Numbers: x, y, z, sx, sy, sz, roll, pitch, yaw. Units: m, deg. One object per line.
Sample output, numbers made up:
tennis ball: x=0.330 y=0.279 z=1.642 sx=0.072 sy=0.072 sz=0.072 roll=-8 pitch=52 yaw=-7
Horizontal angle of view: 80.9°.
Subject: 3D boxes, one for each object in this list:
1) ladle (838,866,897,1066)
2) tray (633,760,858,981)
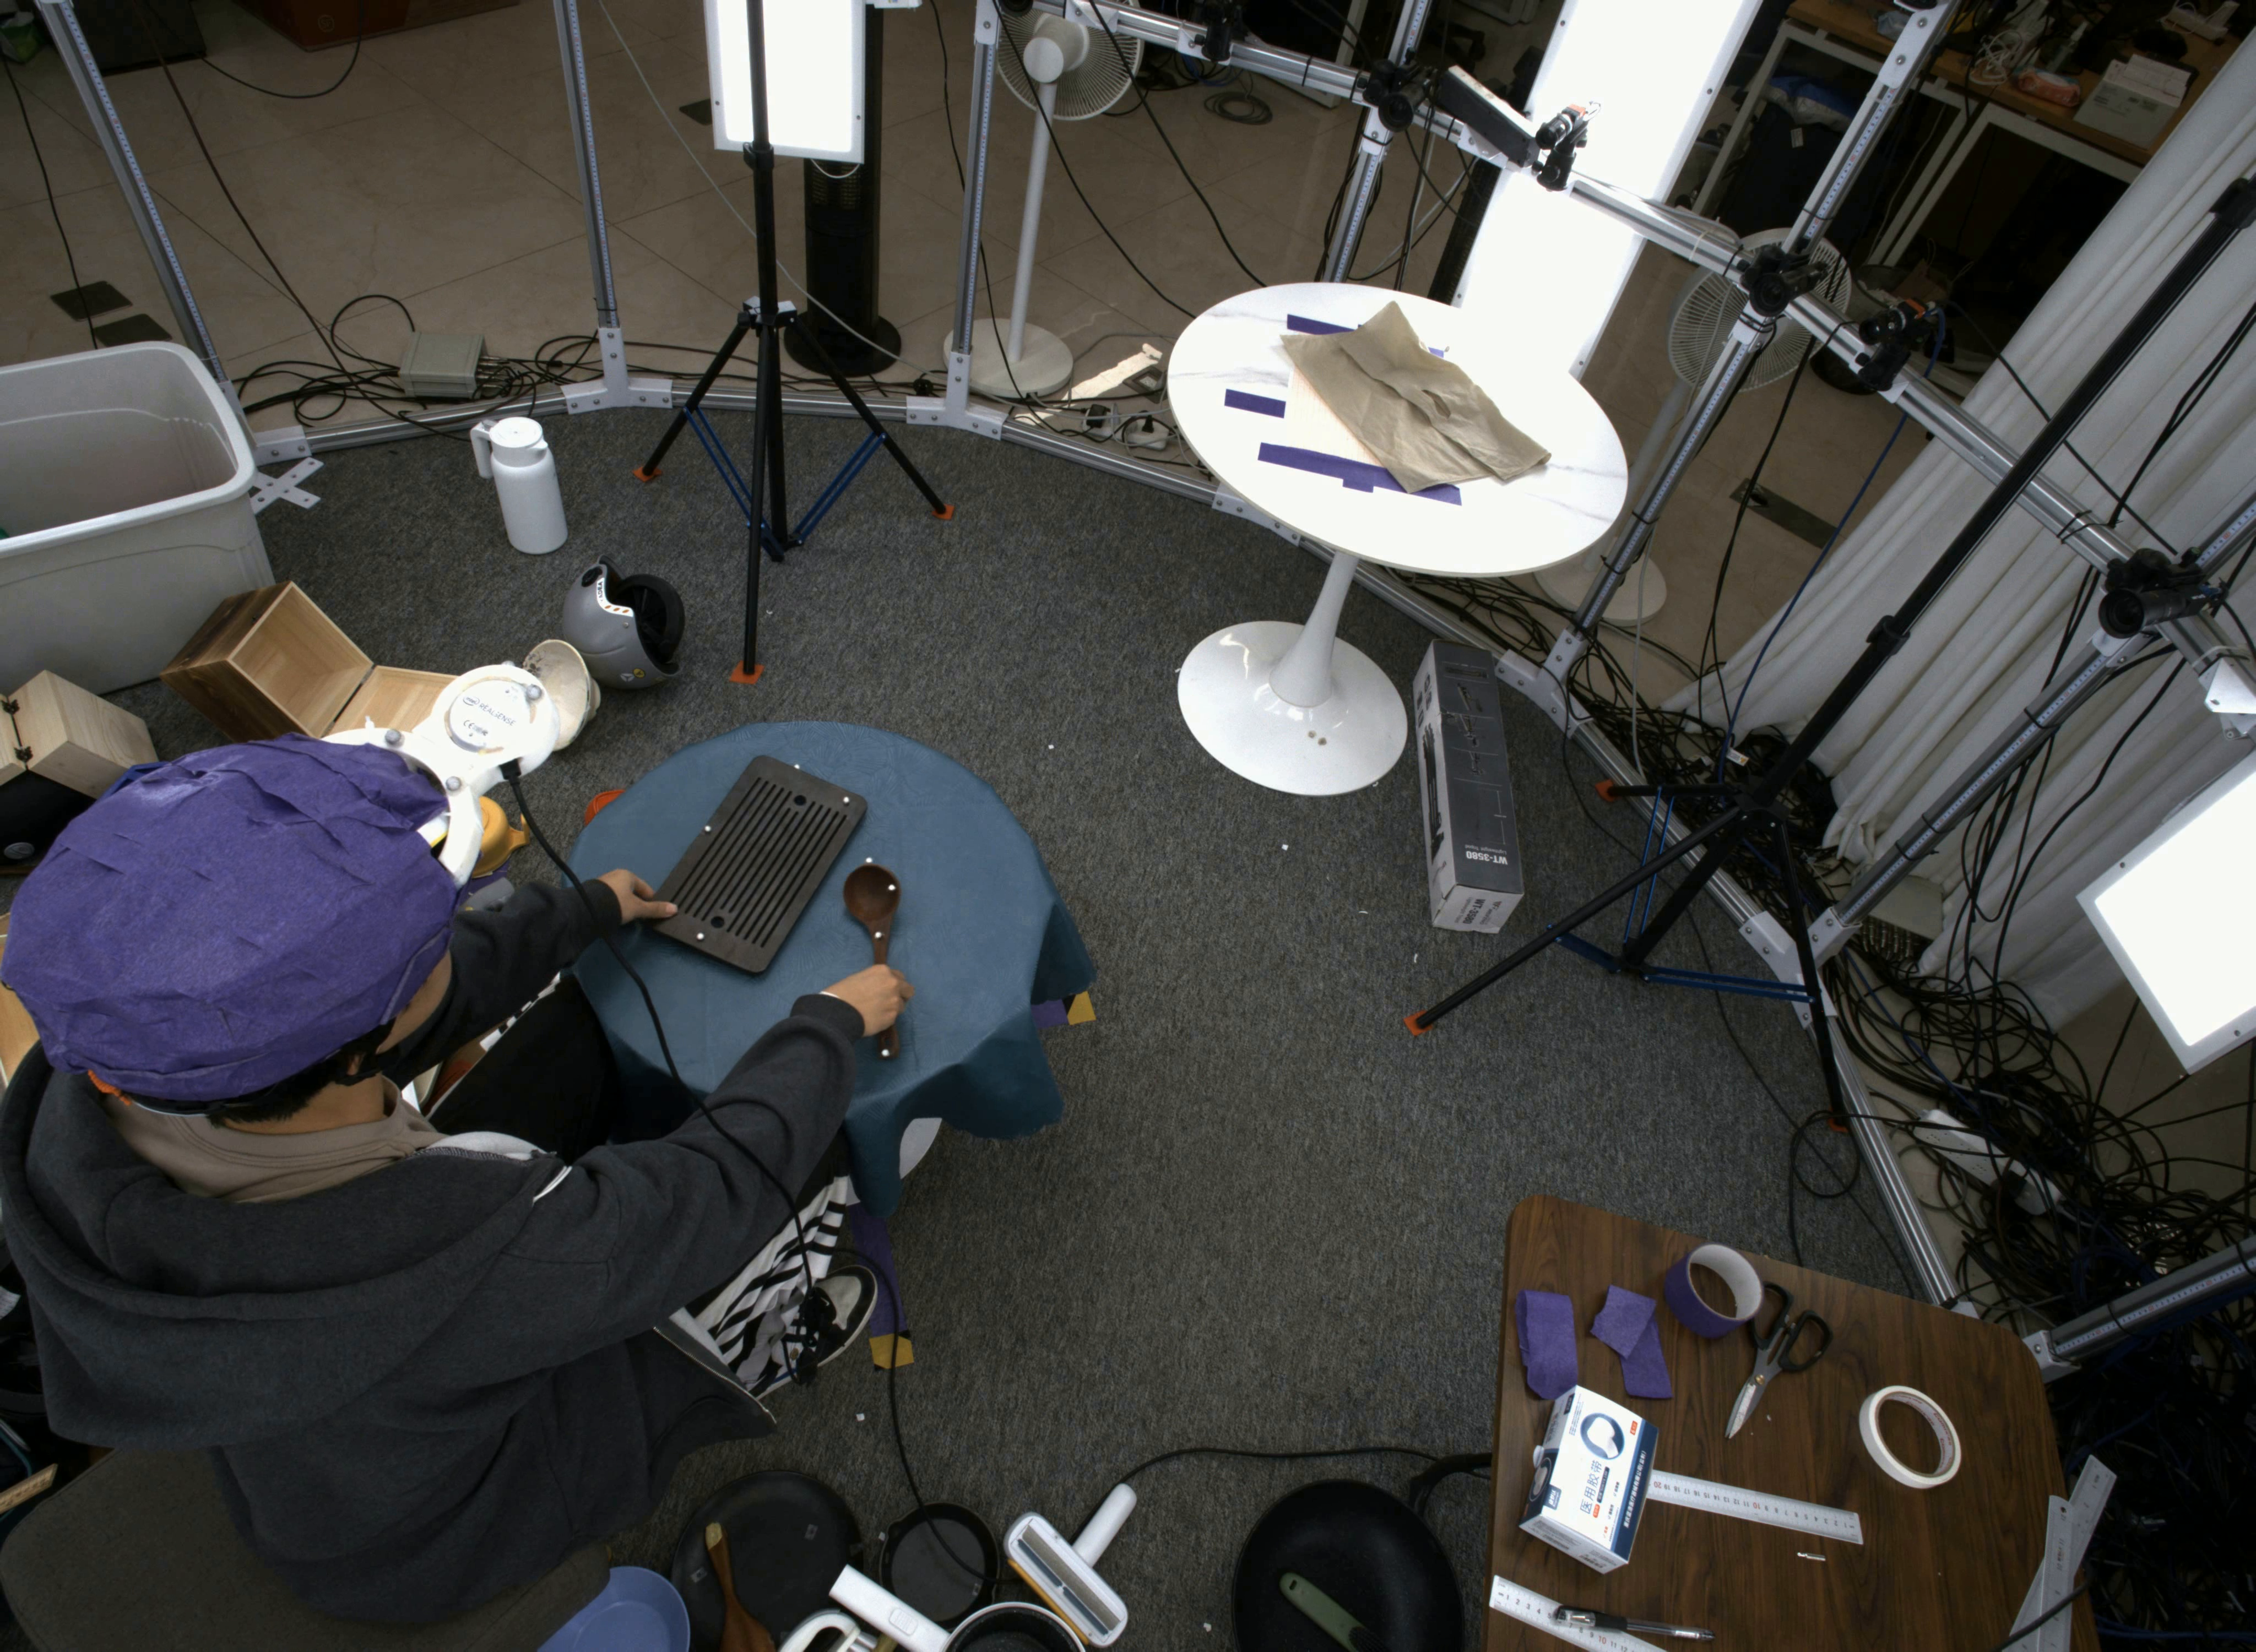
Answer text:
ladle: x=-0.314 y=0.164 z=1.592 sx=0.075 sy=0.067 sz=0.254 roll=-18 pitch=54 yaw=10
tray: x=-0.486 y=0.050 z=1.659 sx=0.169 sy=0.019 sz=0.303 roll=24 pitch=52 yaw=0
